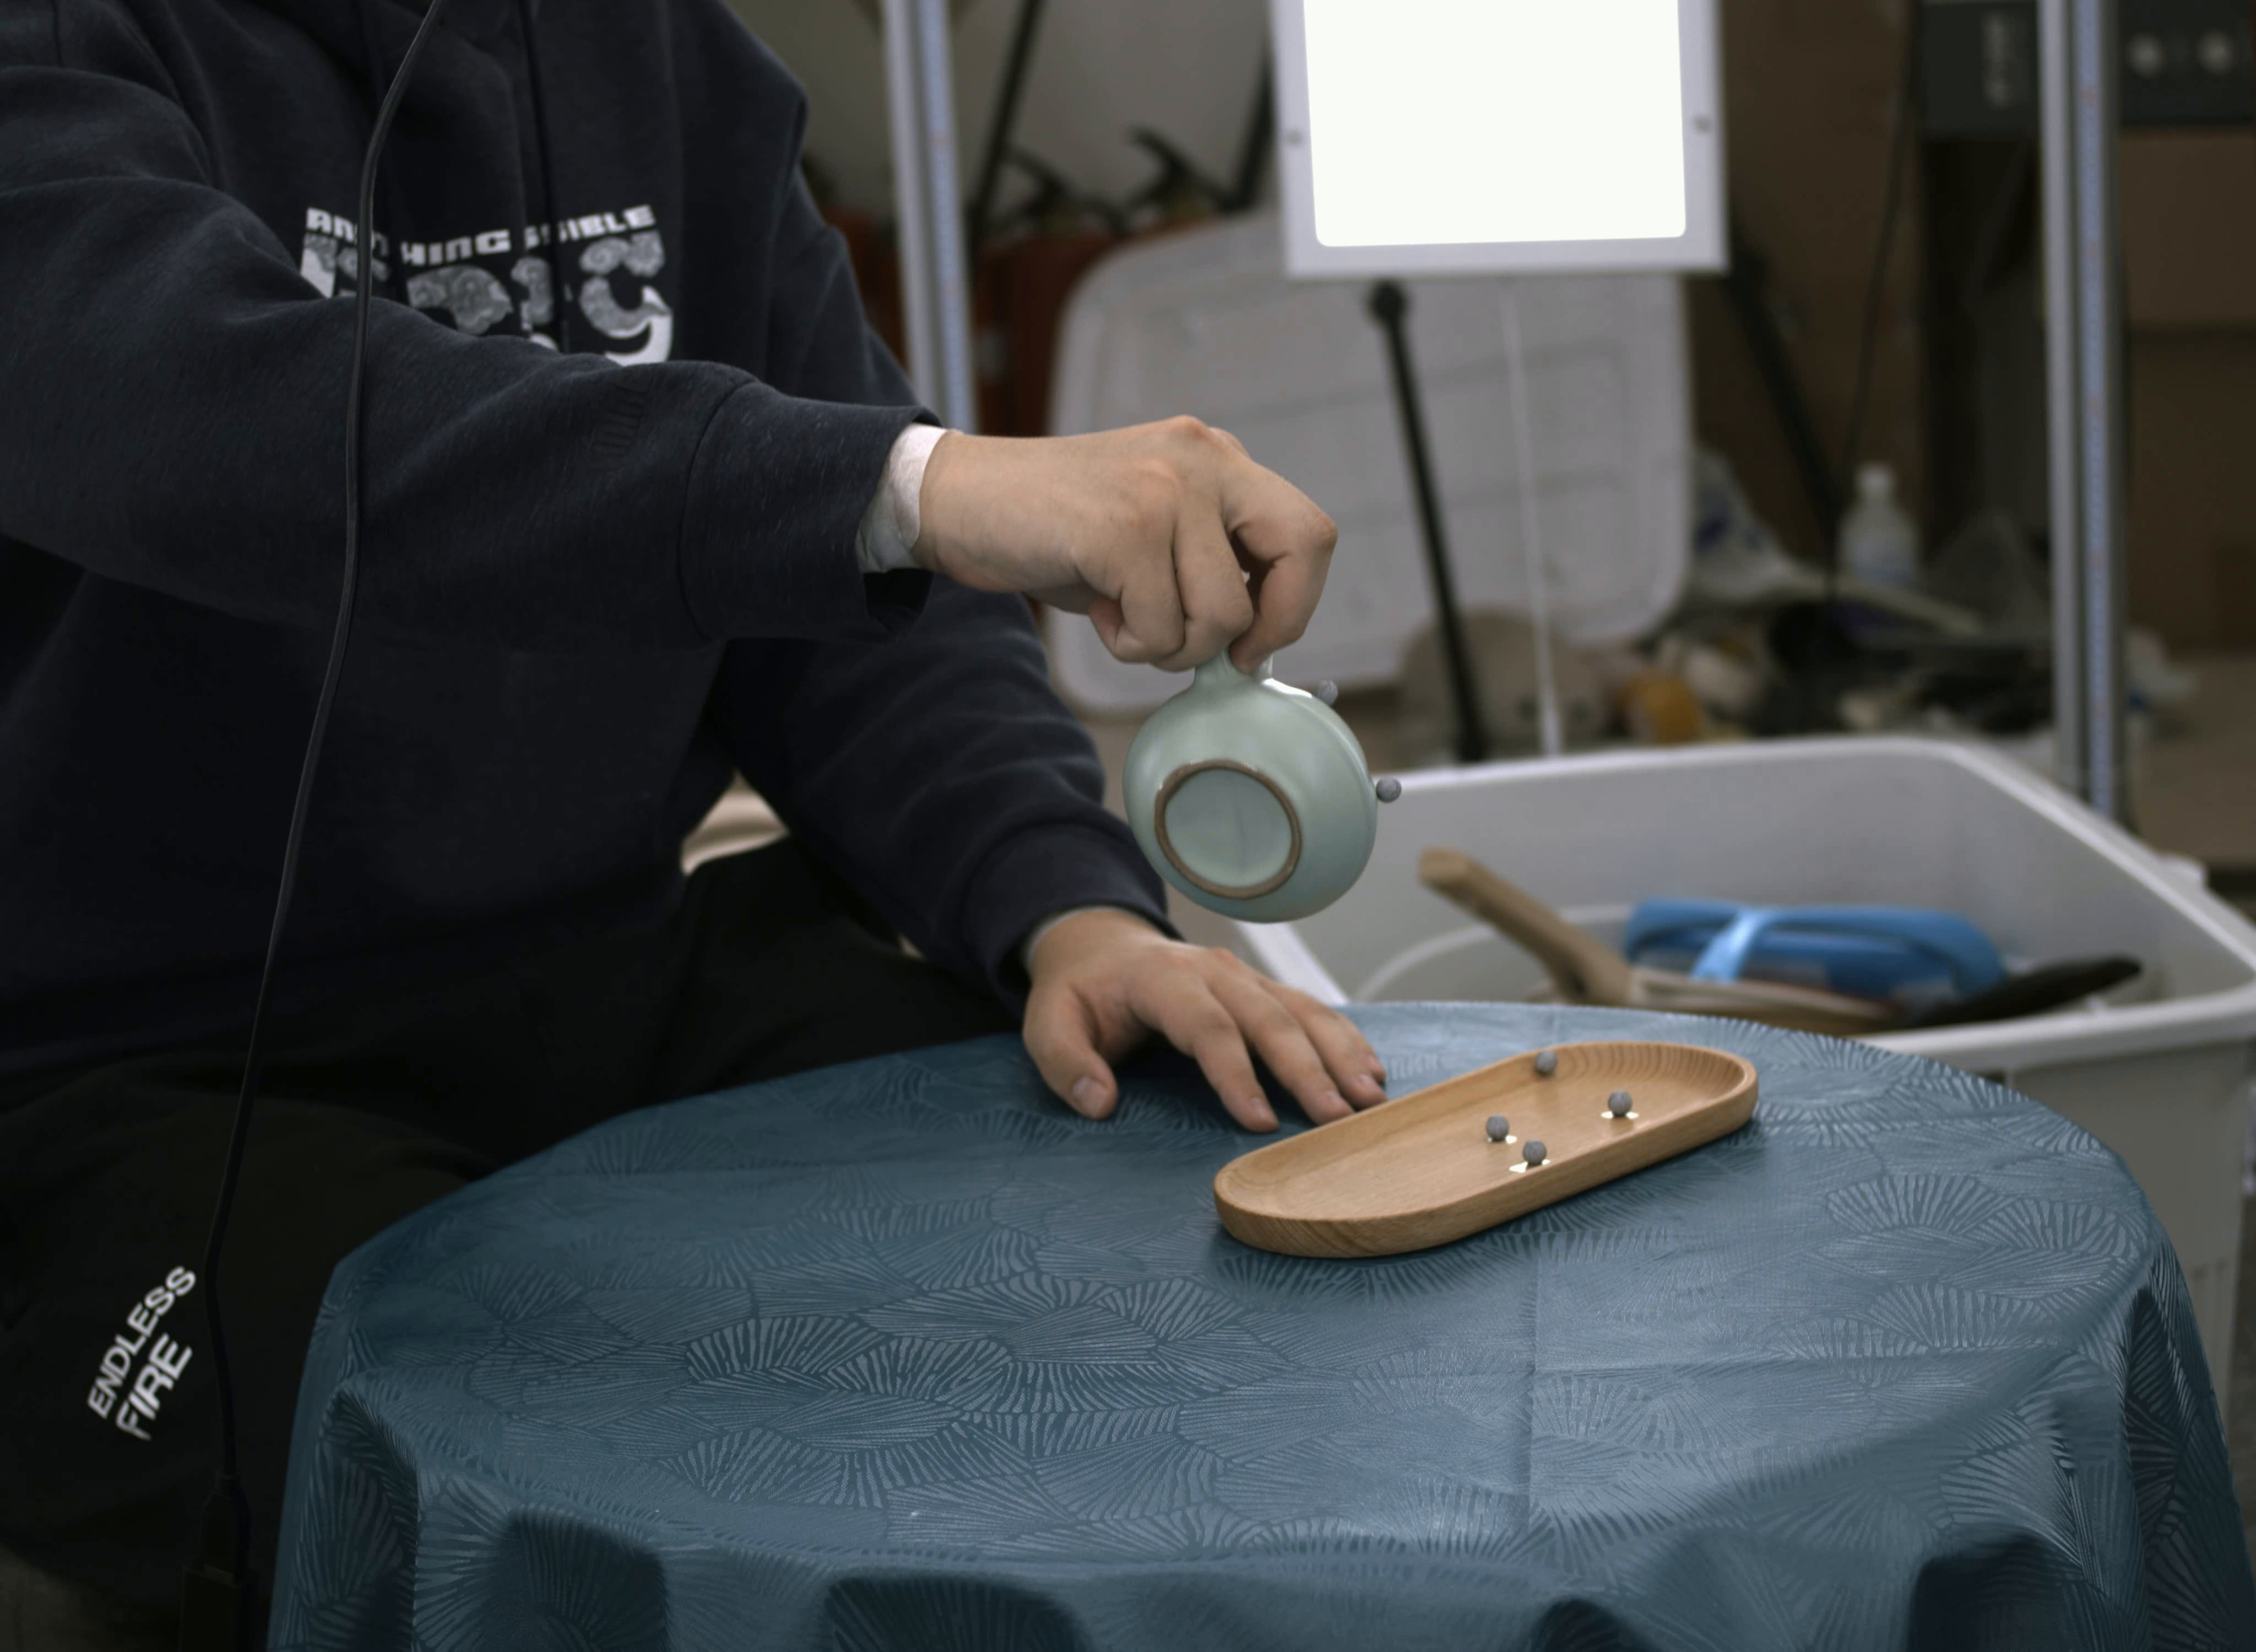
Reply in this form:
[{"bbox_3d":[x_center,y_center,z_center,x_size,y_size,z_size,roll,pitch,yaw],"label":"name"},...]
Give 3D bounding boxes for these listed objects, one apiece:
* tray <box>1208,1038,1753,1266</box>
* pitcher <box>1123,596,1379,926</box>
[{"bbox_3d":[0.124,0.111,1.889,0.225,0.020,0.104,-20,18,-40],"label":"tray"},{"bbox_3d":[0.040,-0.020,1.768,0.087,0.108,0.059,-2,27,26],"label":"pitcher"}]
